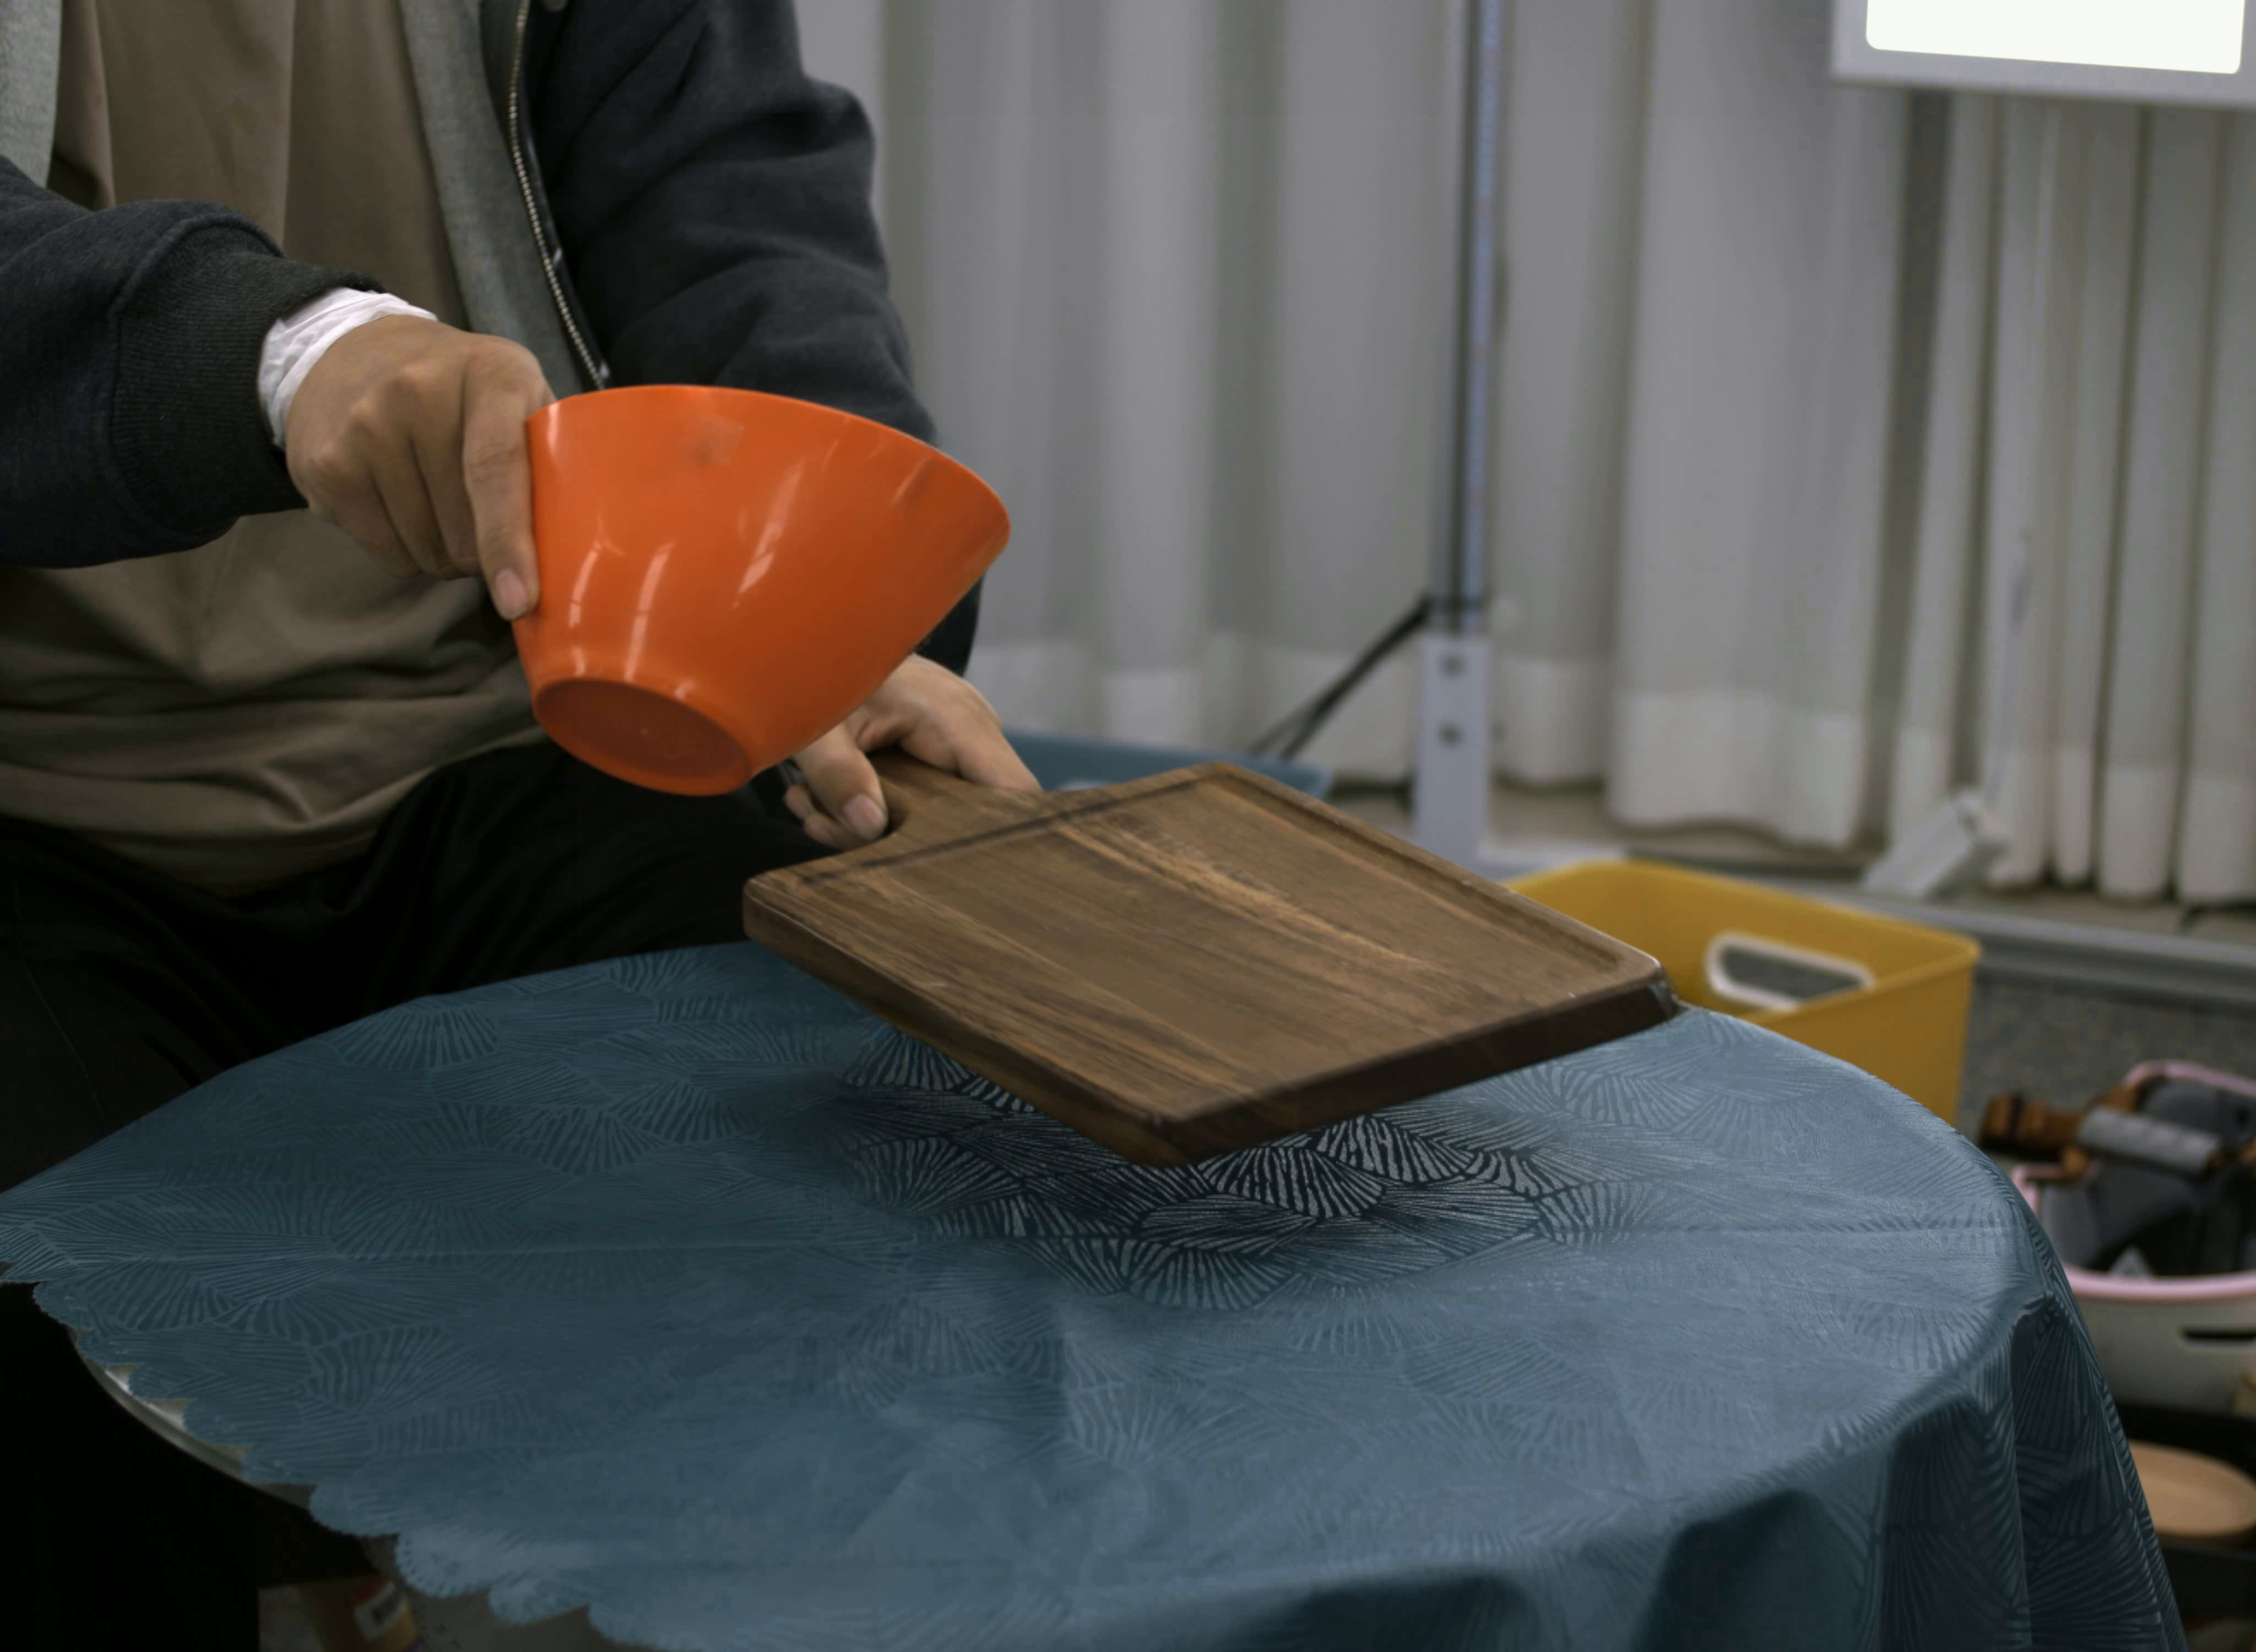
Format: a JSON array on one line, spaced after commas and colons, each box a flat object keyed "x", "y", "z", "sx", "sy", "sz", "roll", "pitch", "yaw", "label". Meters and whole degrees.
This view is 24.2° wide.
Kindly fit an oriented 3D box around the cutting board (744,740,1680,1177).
[{"x": -0.004, "y": 0.027, "z": 1.703, "sx": 0.202, "sy": 0.023, "sz": 0.347, "roll": -14, "pitch": 24, "yaw": -31, "label": "cutting board"}]

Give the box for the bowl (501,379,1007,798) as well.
[{"x": -0.119, "y": -0.064, "z": 1.536, "sx": 0.147, "sy": 0.104, "sz": 0.149, "roll": 14, "pitch": -24, "yaw": 7, "label": "bowl"}]
